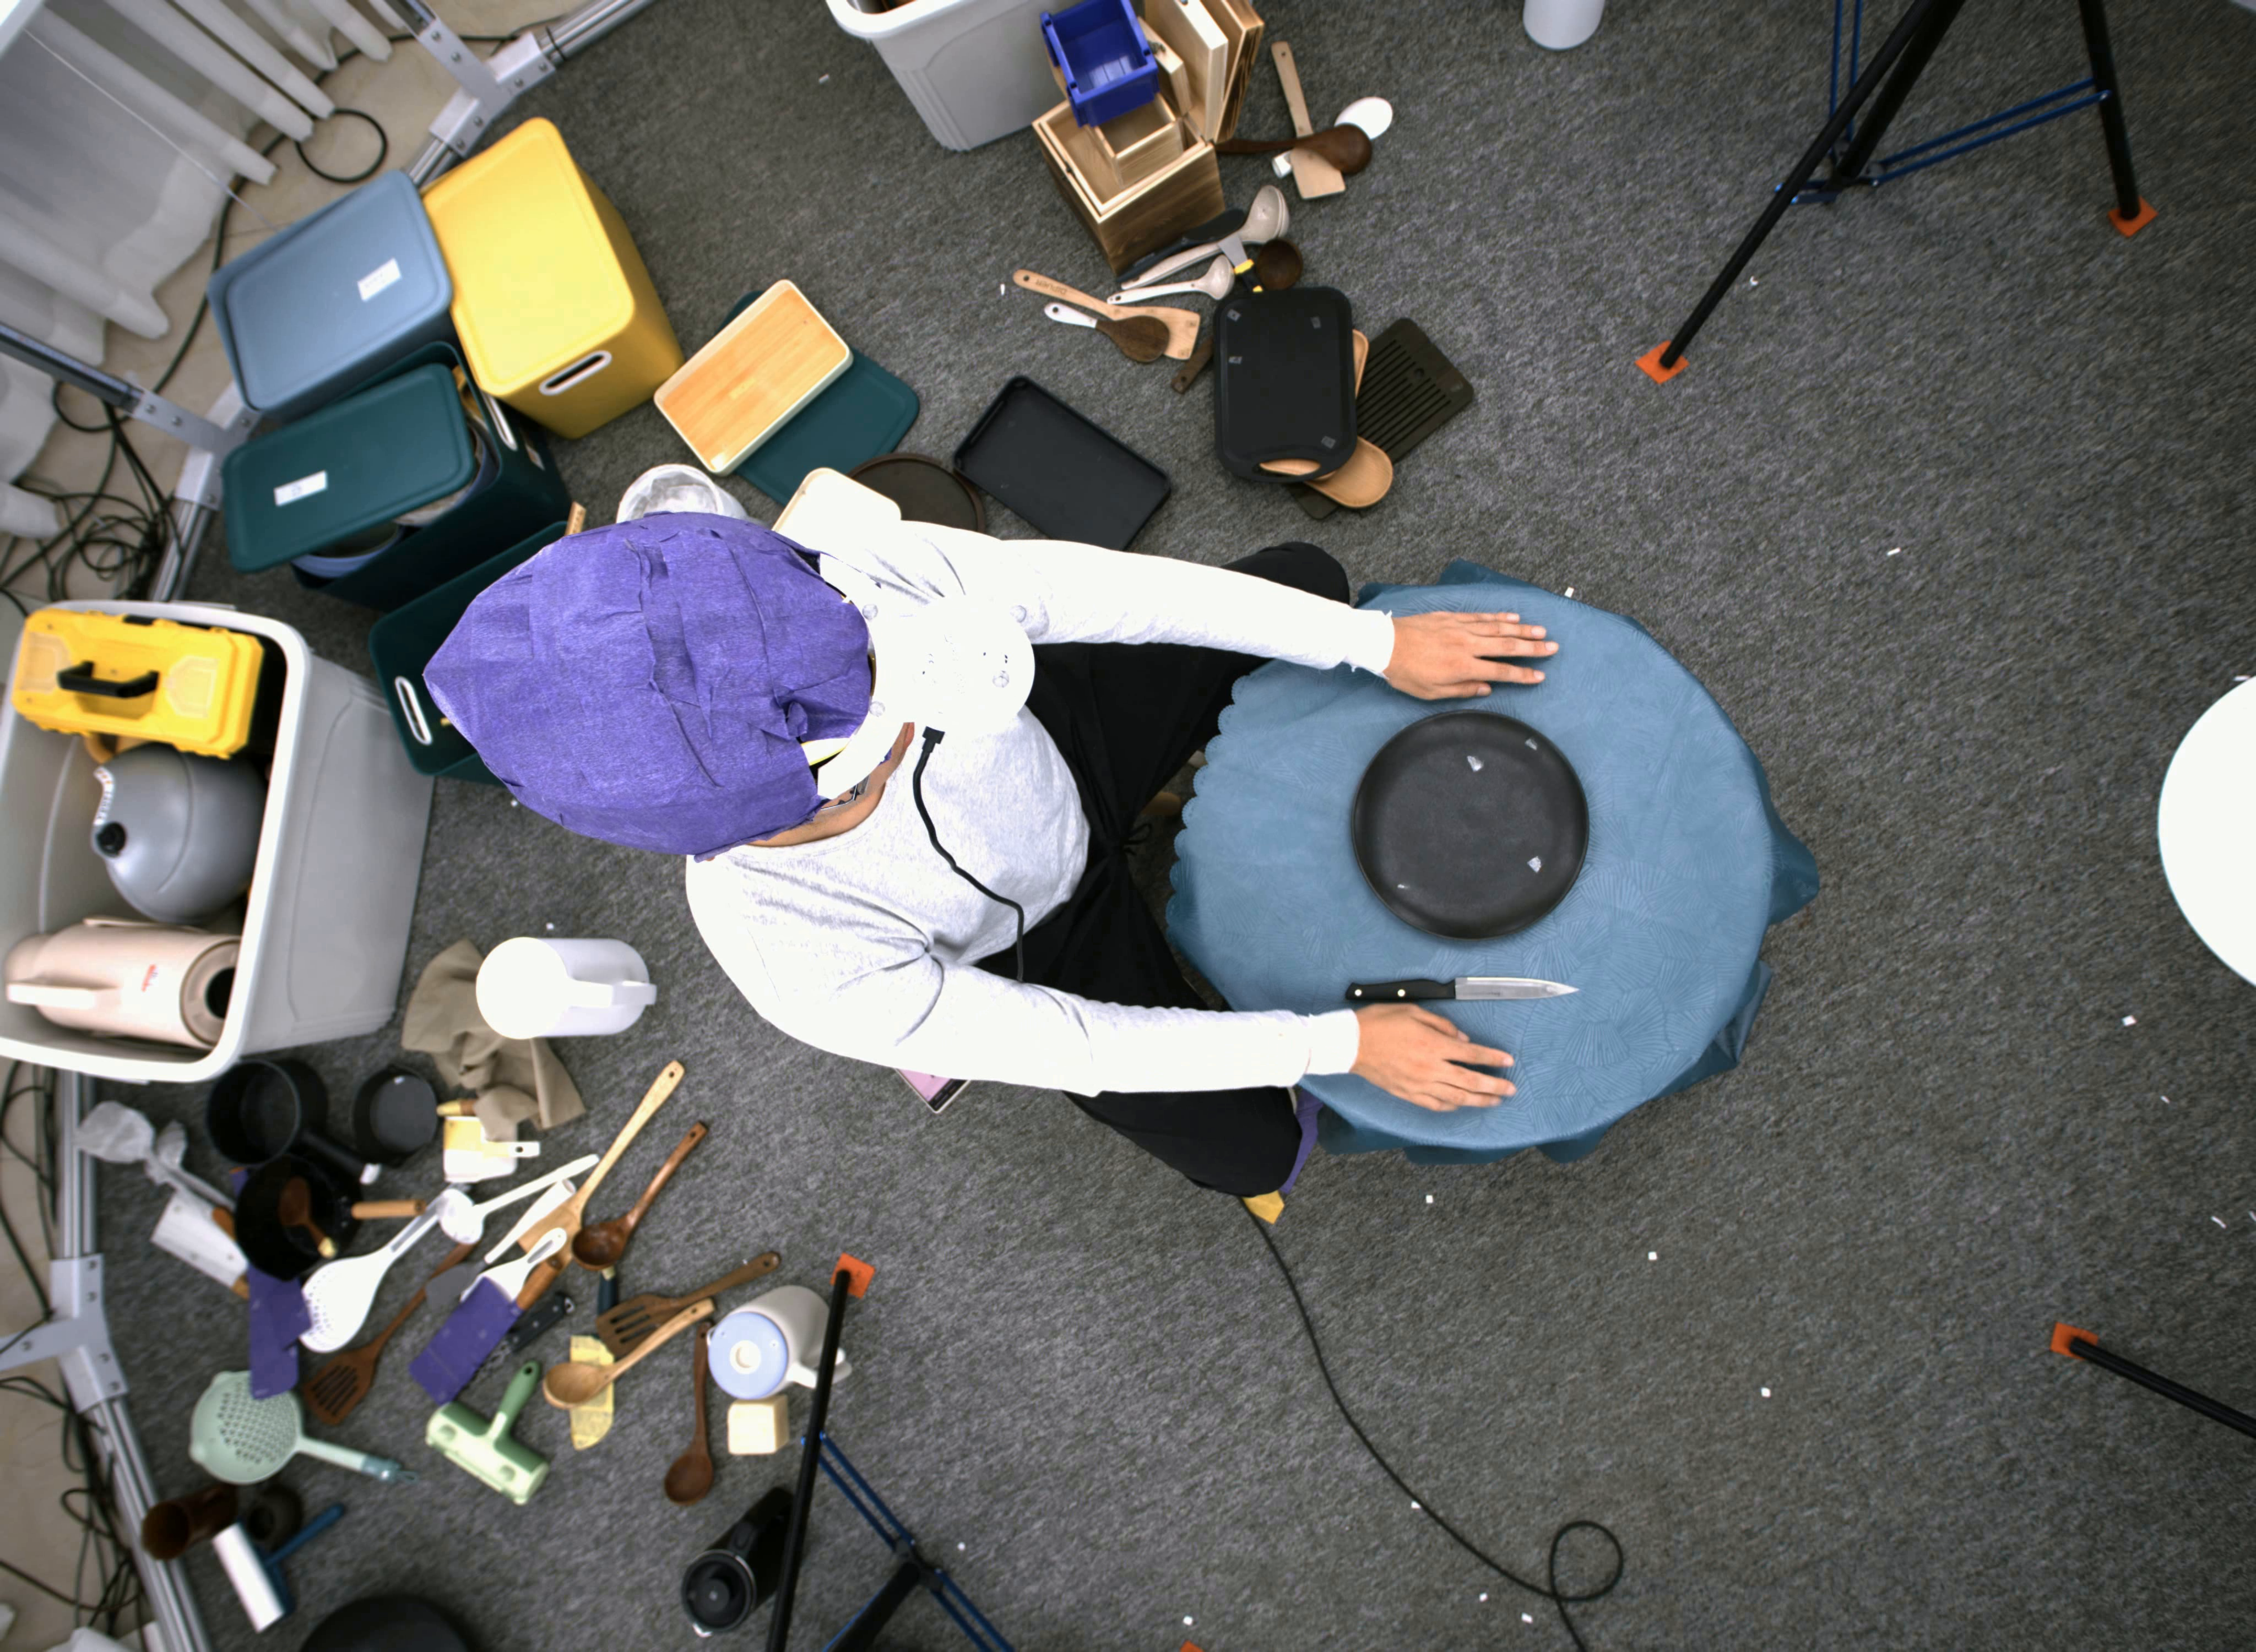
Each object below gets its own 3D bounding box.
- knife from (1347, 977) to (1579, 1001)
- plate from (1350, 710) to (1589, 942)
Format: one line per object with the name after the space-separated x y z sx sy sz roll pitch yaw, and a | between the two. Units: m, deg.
0.348 0.168 1.434 0.239 0.016 0.024 -2 85 8 | knife
0.355 -0.002 1.437 0.245 0.023 0.243 -1 87 11 | plate
